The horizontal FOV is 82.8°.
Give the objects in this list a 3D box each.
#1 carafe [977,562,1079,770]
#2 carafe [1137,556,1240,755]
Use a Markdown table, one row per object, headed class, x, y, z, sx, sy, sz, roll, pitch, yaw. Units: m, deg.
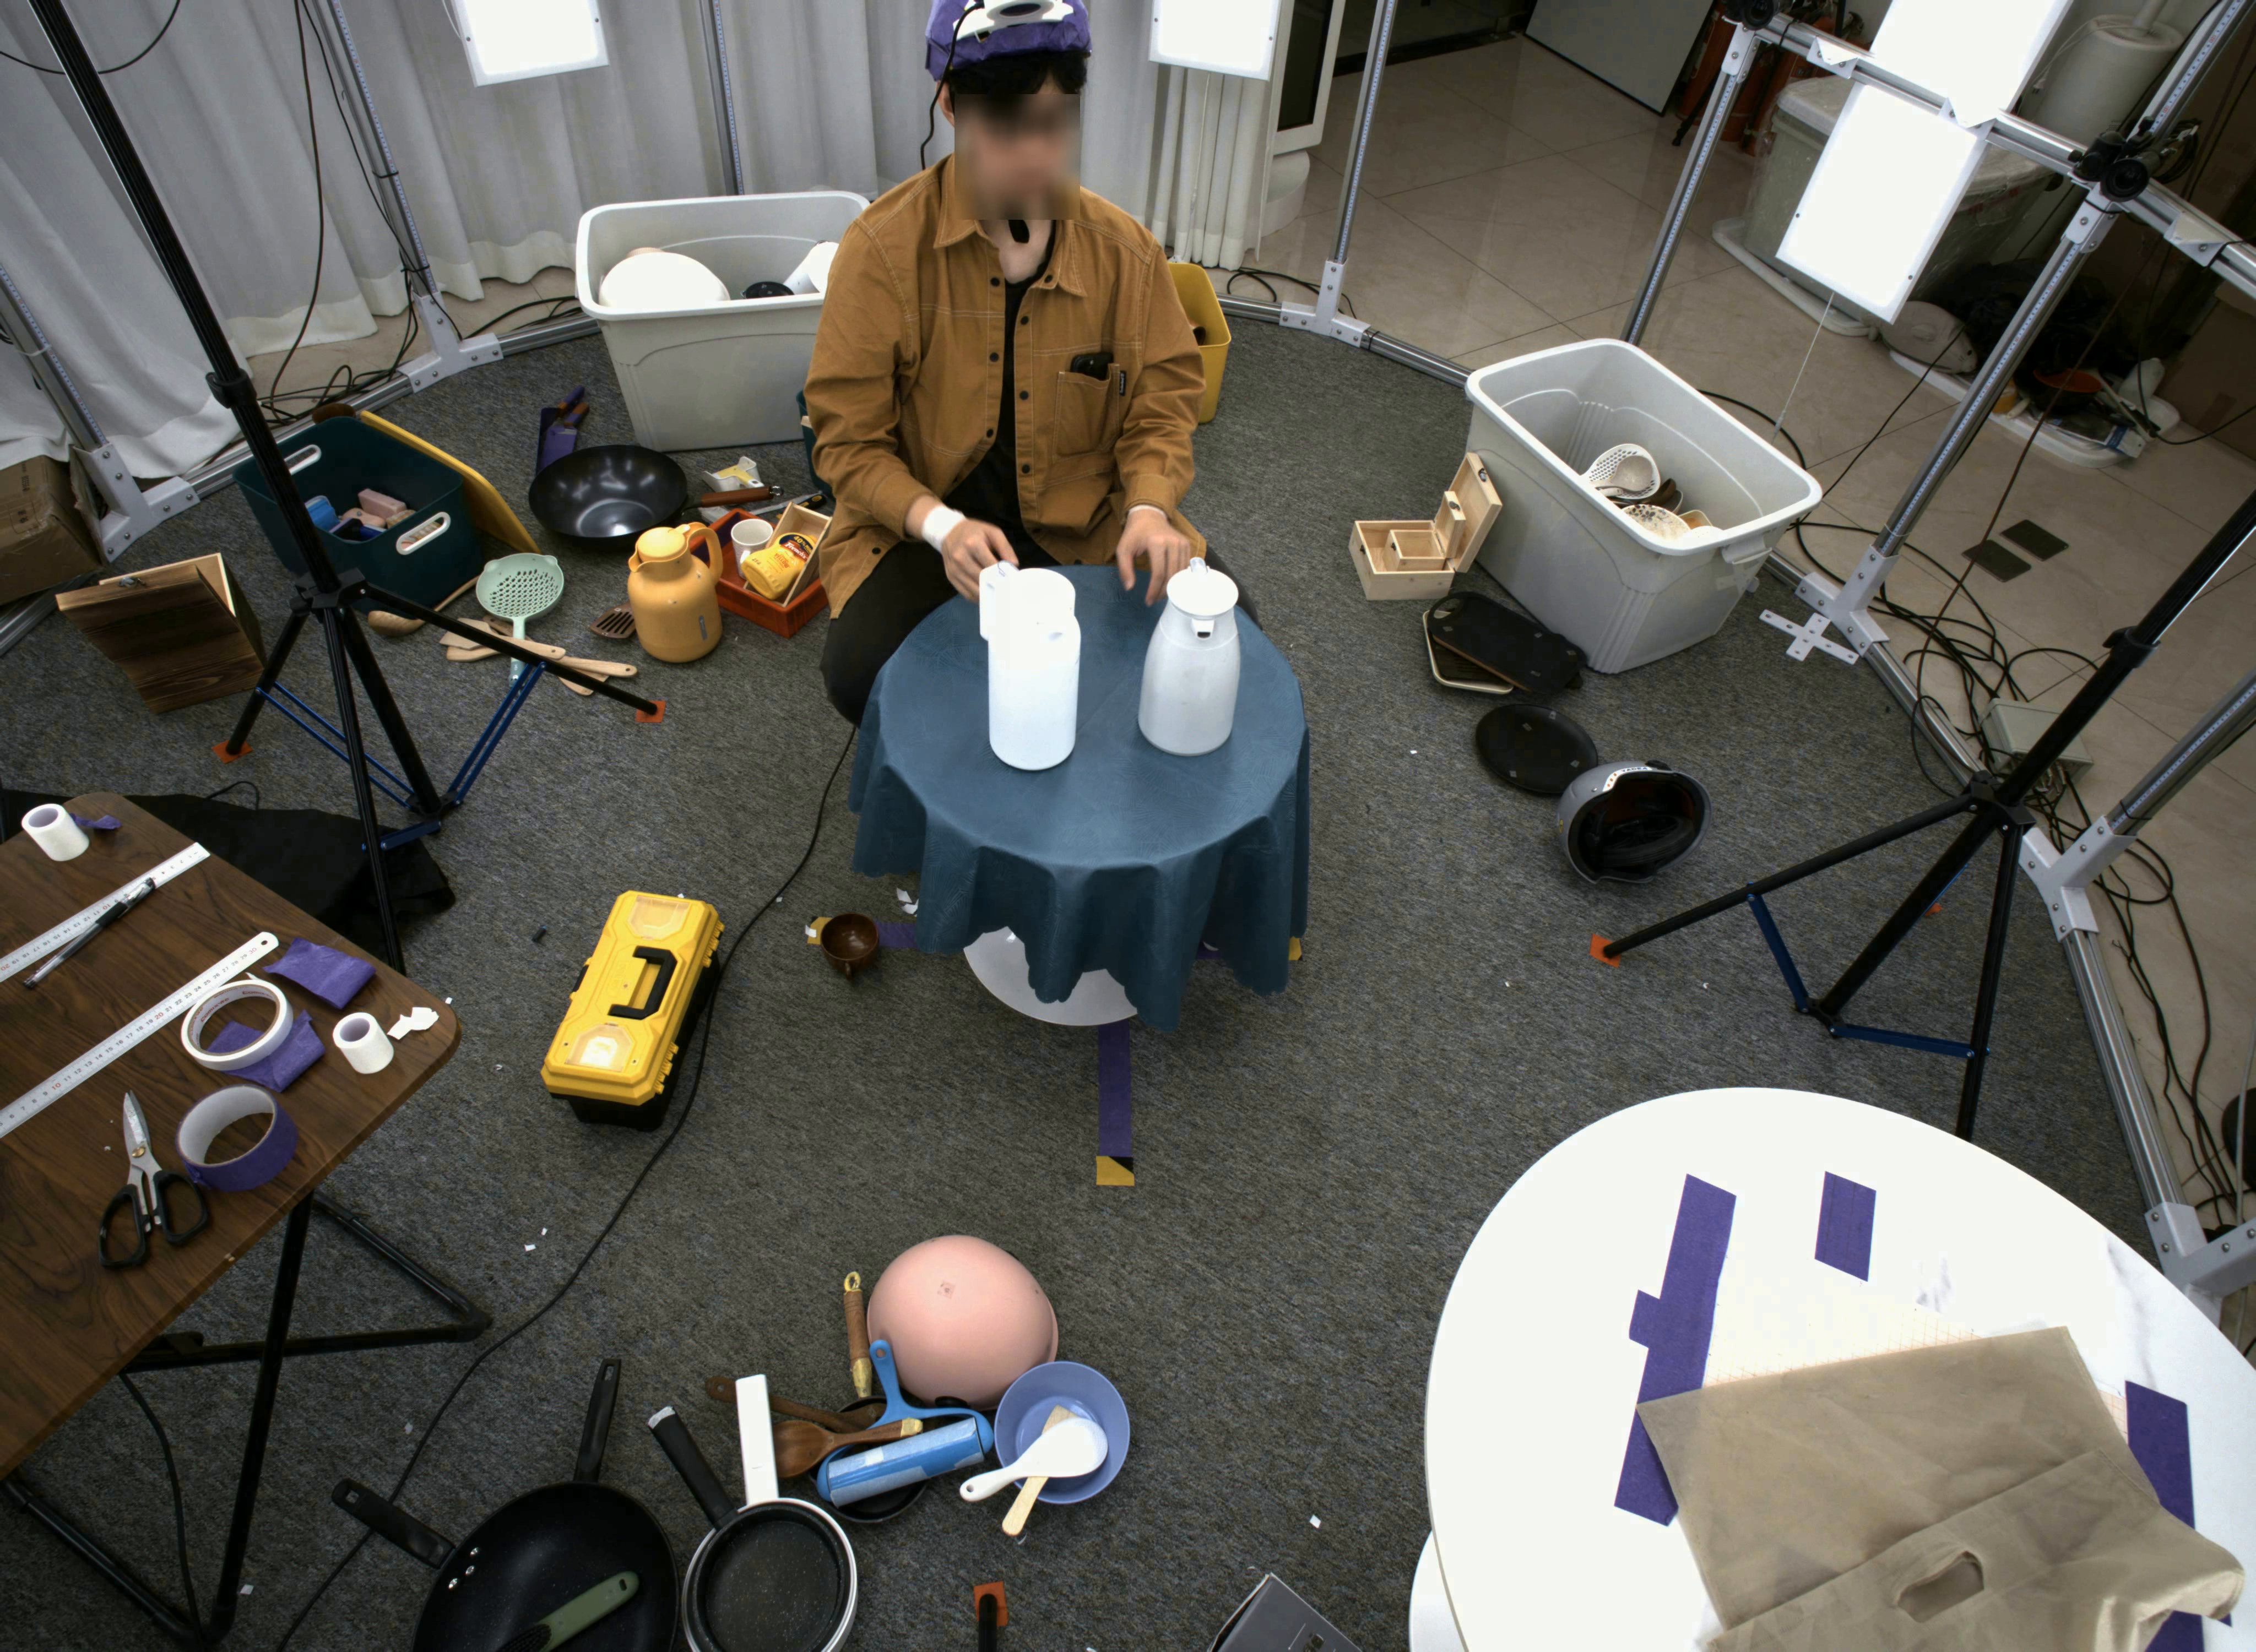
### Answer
| class | x | y | z | sx | sy | sz | roll | pitch | yaw |
| --- | --- | --- | --- | --- | --- | --- | --- | --- | --- |
| carafe | -0.136 | -0.210 | 1.671 | 0.124 | 0.262 | 0.176 | -30 | 58 | -24 |
| carafe | 0.085 | -0.240 | 1.721 | 0.132 | 0.242 | 0.172 | 1 | 49 | -3 |
